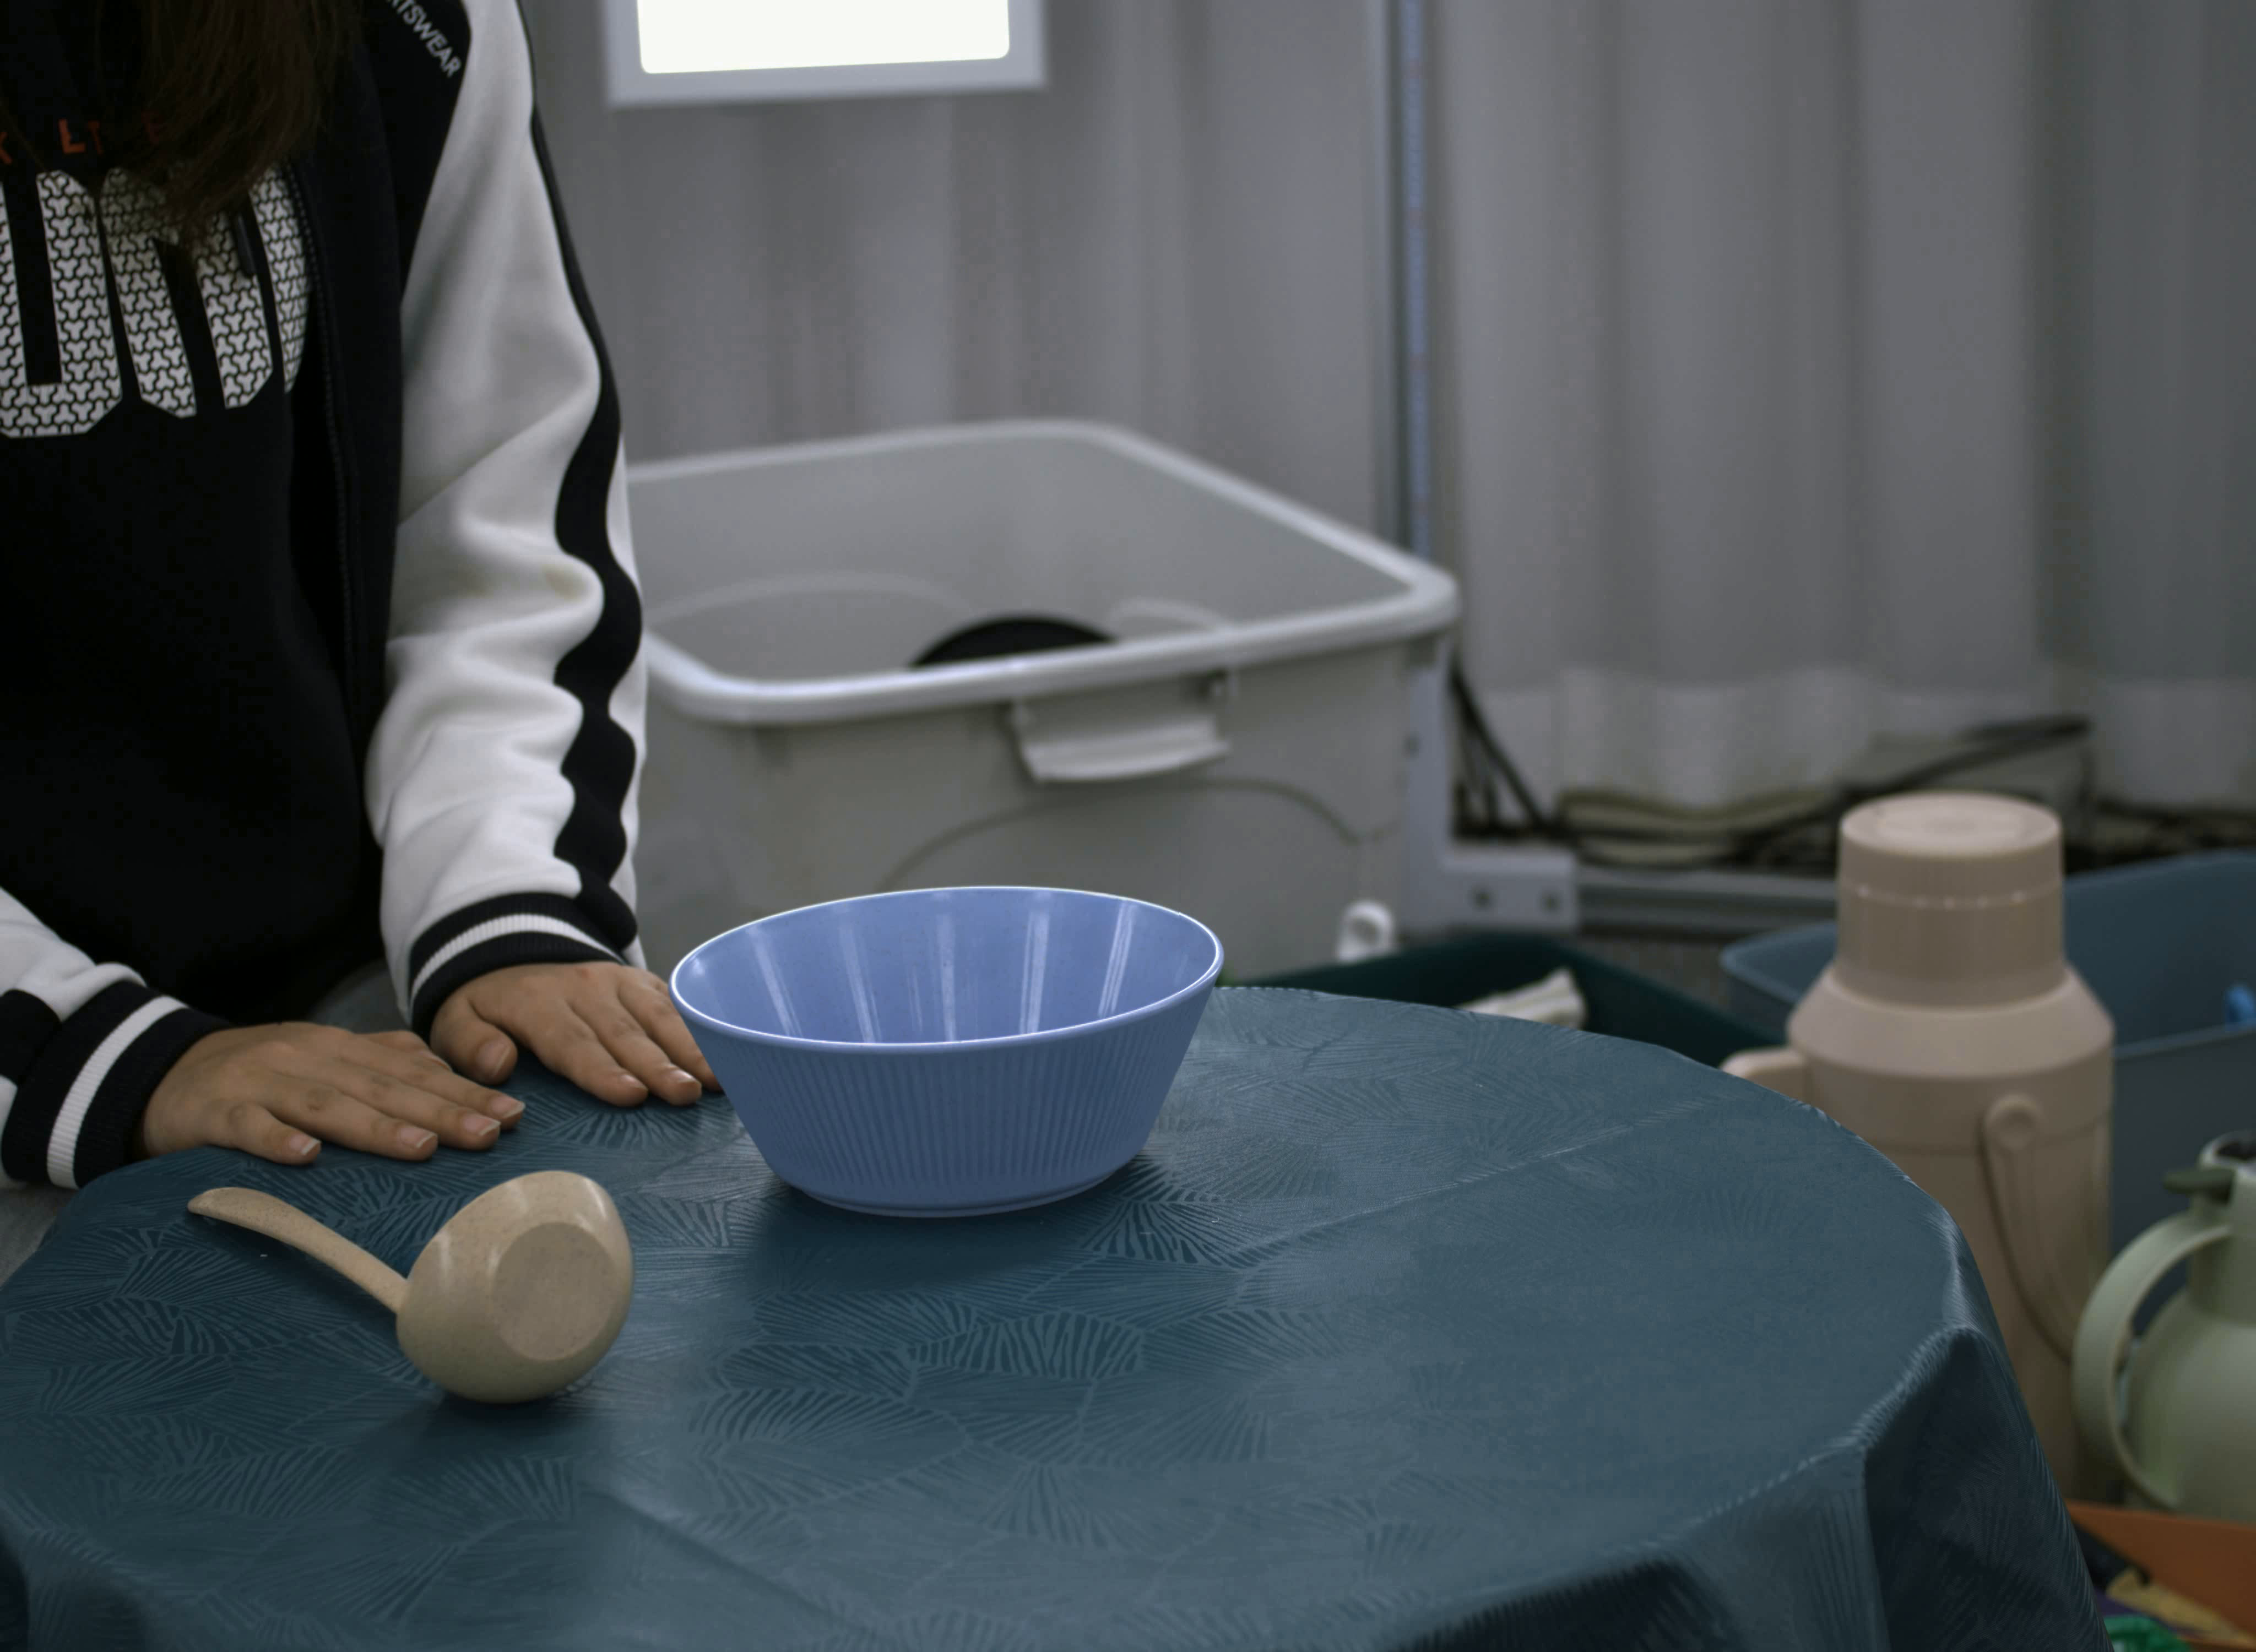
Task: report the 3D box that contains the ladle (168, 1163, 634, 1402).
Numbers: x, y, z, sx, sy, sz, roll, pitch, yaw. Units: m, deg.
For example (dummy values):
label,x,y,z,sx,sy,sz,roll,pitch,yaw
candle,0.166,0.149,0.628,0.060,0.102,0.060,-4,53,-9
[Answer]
label,x,y,z,sx,sy,sz,roll,pitch,yaw
ladle,-0.232,0.111,1.632,0.072,0.072,0.256,-18,20,-32

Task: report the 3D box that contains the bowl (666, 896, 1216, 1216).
label,x,y,z,sx,sy,sz,roll,pitch,yaw
bowl,-0.058,0.075,1.740,0.175,0.070,0.177,-2,14,0
